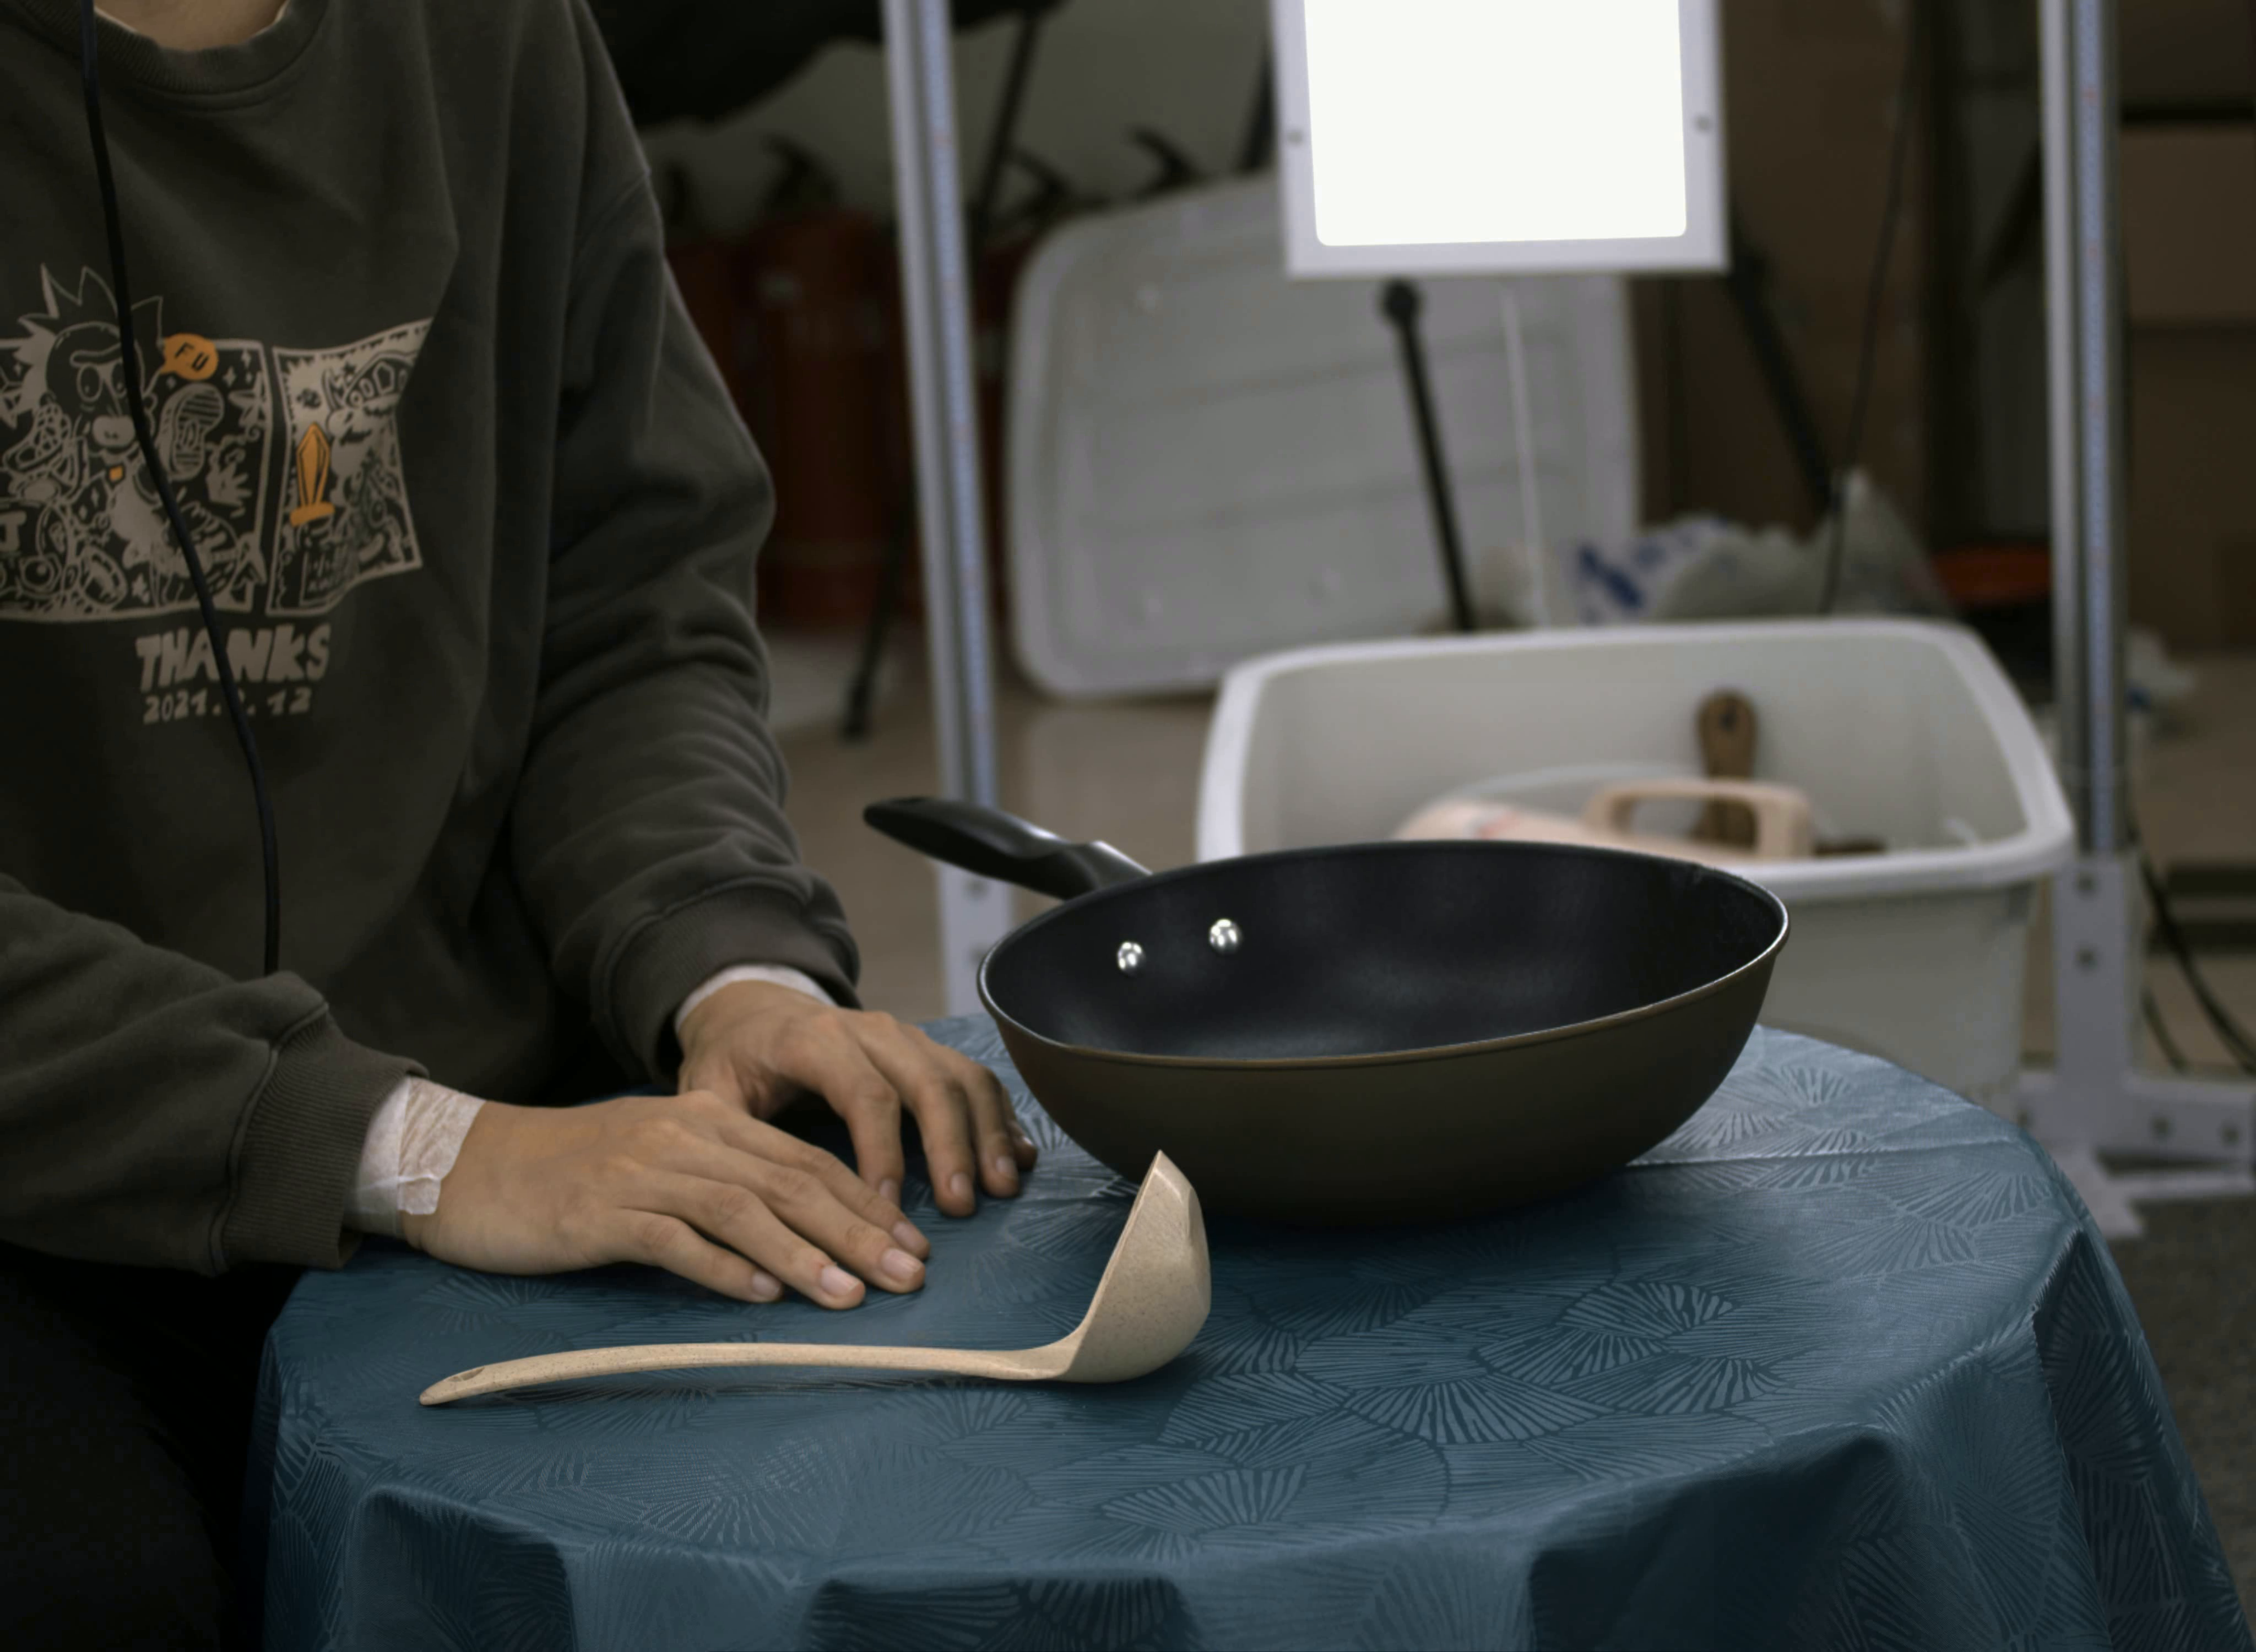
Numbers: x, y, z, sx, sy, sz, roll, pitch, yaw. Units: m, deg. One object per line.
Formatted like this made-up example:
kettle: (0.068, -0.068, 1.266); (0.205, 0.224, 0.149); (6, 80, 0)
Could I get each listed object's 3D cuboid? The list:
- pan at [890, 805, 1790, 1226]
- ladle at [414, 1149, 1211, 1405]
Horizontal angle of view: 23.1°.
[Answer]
pan: (0.038, 0.063, 1.968); (0.281, 0.087, 0.472); (-14, 15, -31)
ladle: (-0.101, 0.141, 1.721); (0.255, 0.073, 0.071); (-2, 16, 7)
